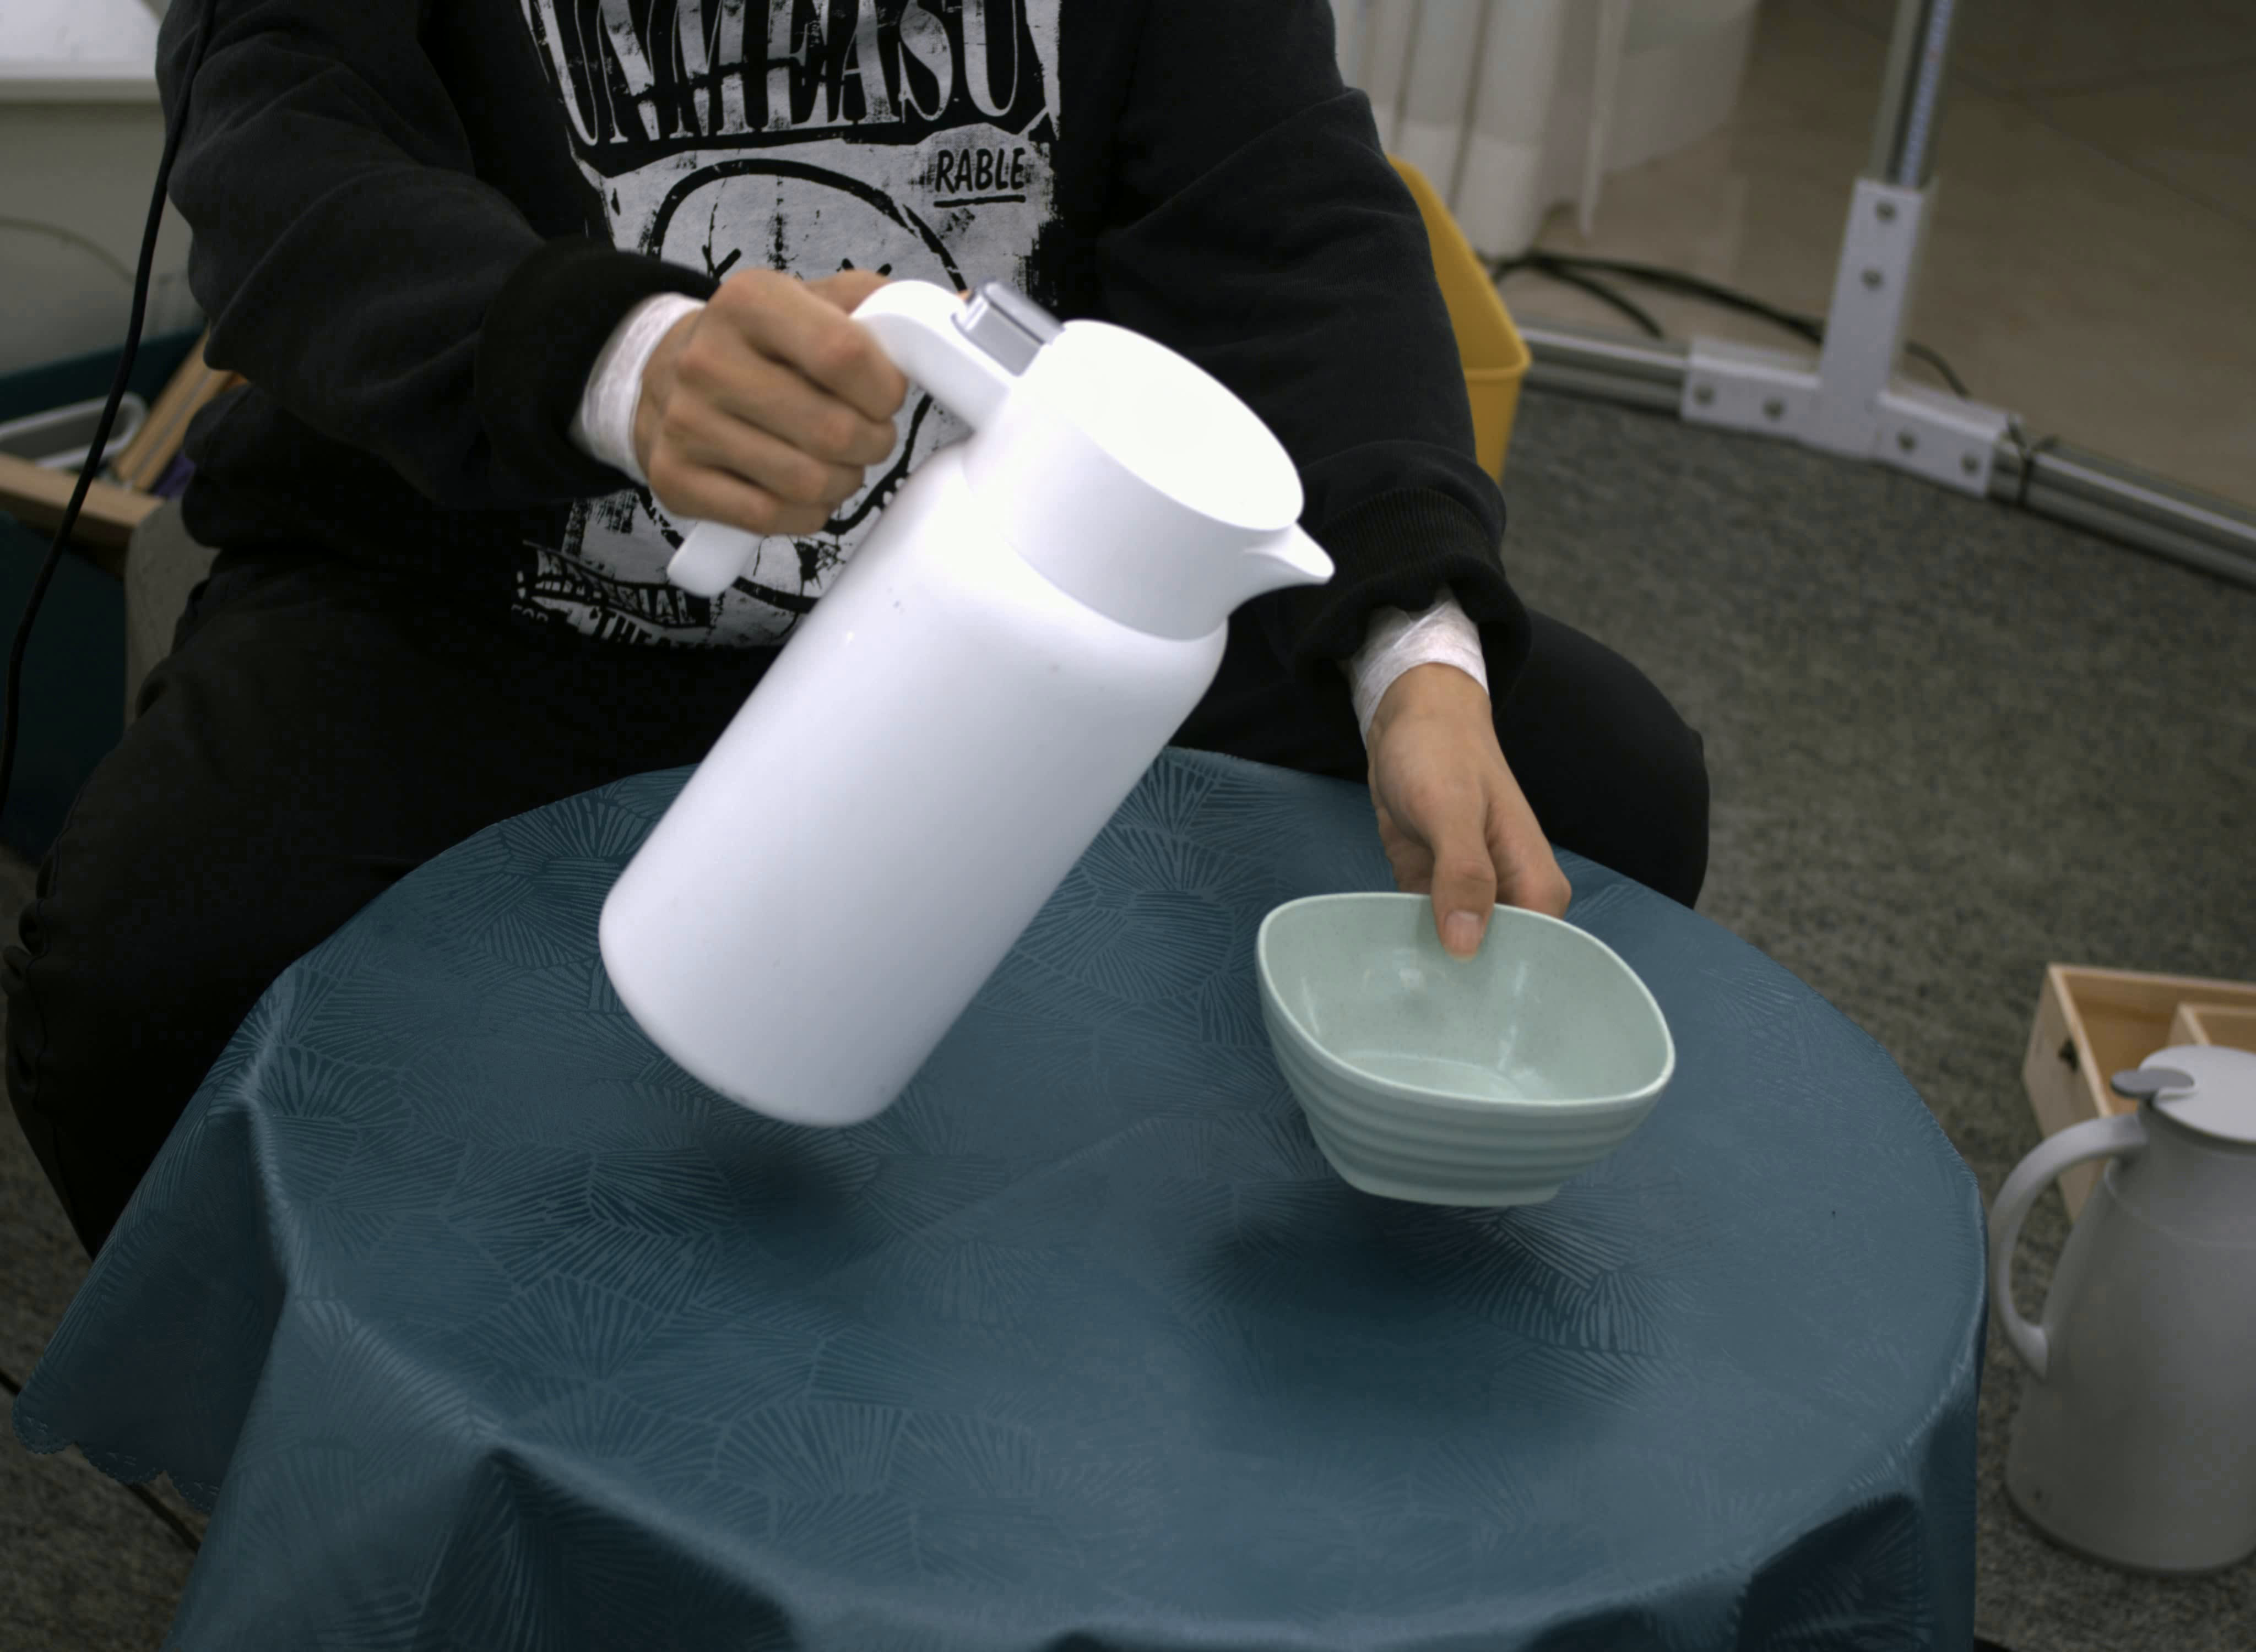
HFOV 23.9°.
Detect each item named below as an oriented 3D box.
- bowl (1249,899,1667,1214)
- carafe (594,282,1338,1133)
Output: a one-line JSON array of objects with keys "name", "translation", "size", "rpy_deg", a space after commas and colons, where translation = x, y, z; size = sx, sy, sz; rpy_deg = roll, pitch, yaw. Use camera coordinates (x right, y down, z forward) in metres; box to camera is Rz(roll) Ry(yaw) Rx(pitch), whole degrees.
[{"name": "bowl", "translation": [0.105, 0.083, 1.783], "size": [0.151, 0.058, 0.152], "rpy_deg": [9, 26, -5]}, {"name": "carafe", "translation": [-0.073, -0.041, 1.709], "size": [0.172, 0.268, 0.124], "rpy_deg": [36, 28, -1]}]
